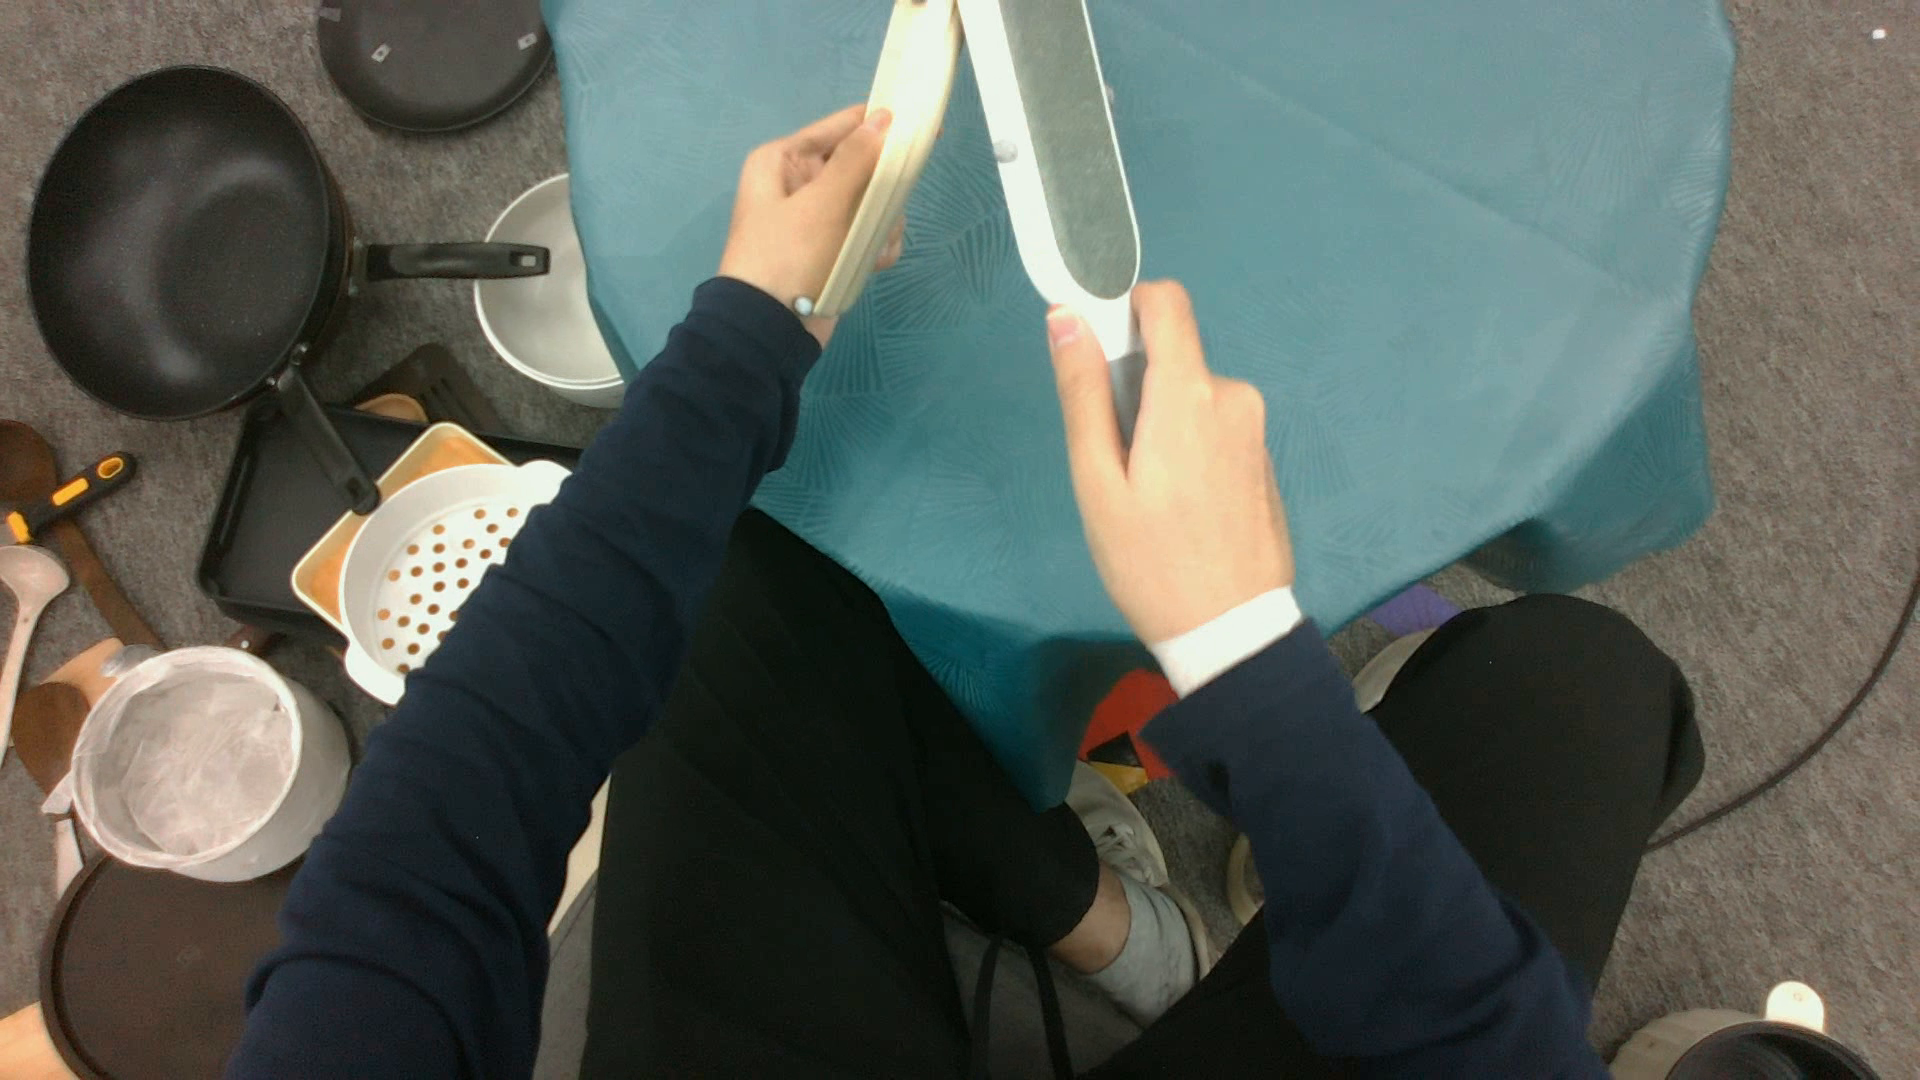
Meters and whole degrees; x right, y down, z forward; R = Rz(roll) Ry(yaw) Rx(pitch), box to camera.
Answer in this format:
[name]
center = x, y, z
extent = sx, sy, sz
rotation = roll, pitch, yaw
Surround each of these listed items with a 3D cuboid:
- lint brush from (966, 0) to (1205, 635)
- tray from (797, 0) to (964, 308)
[lint brush]
center = 0.041, -0.114, 0.487
extent = 0.021, 0.060, 0.308
rotation = -10, 97, 37
[tray]
center = -0.018, -0.222, 0.567
extent = 0.017, 0.170, 0.240
rotation = 17, 69, -14
